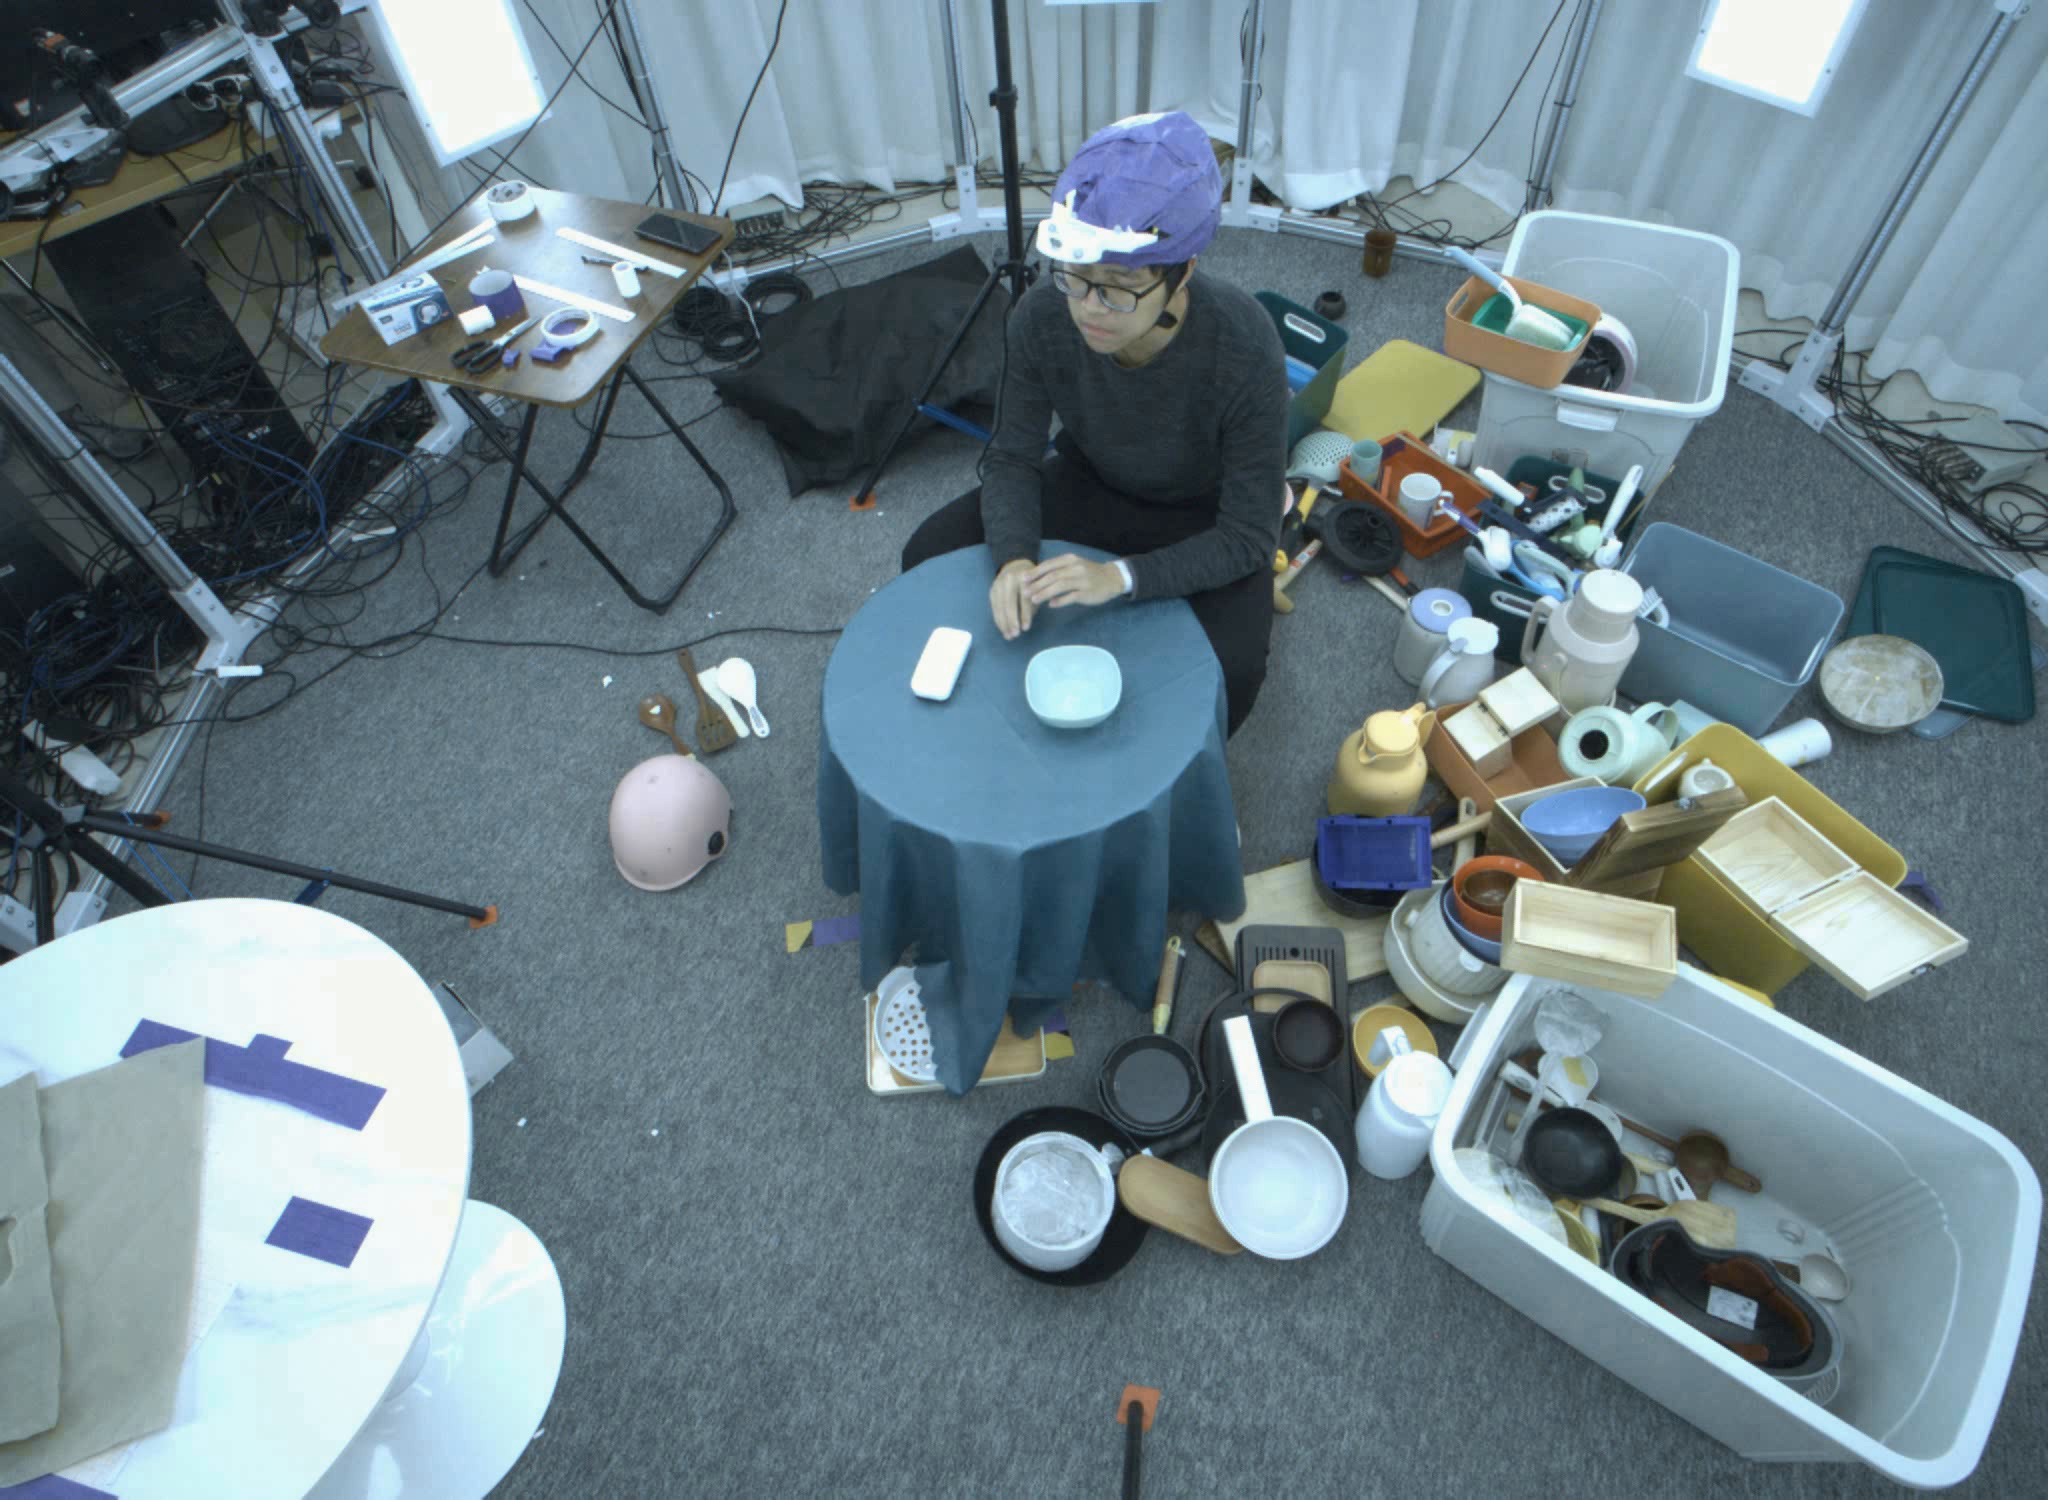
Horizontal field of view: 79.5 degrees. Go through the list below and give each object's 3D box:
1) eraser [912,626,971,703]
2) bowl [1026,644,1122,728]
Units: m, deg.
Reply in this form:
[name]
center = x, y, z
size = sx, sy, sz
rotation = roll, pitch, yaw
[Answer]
[eraser]
center = -0.123, -0.132, 1.866
size = 0.063, 0.035, 0.131
rotation = 13, 58, 9
[bowl]
center = 0.074, -0.084, 1.810
size = 0.151, 0.059, 0.150
rotation = -1, 57, 2
